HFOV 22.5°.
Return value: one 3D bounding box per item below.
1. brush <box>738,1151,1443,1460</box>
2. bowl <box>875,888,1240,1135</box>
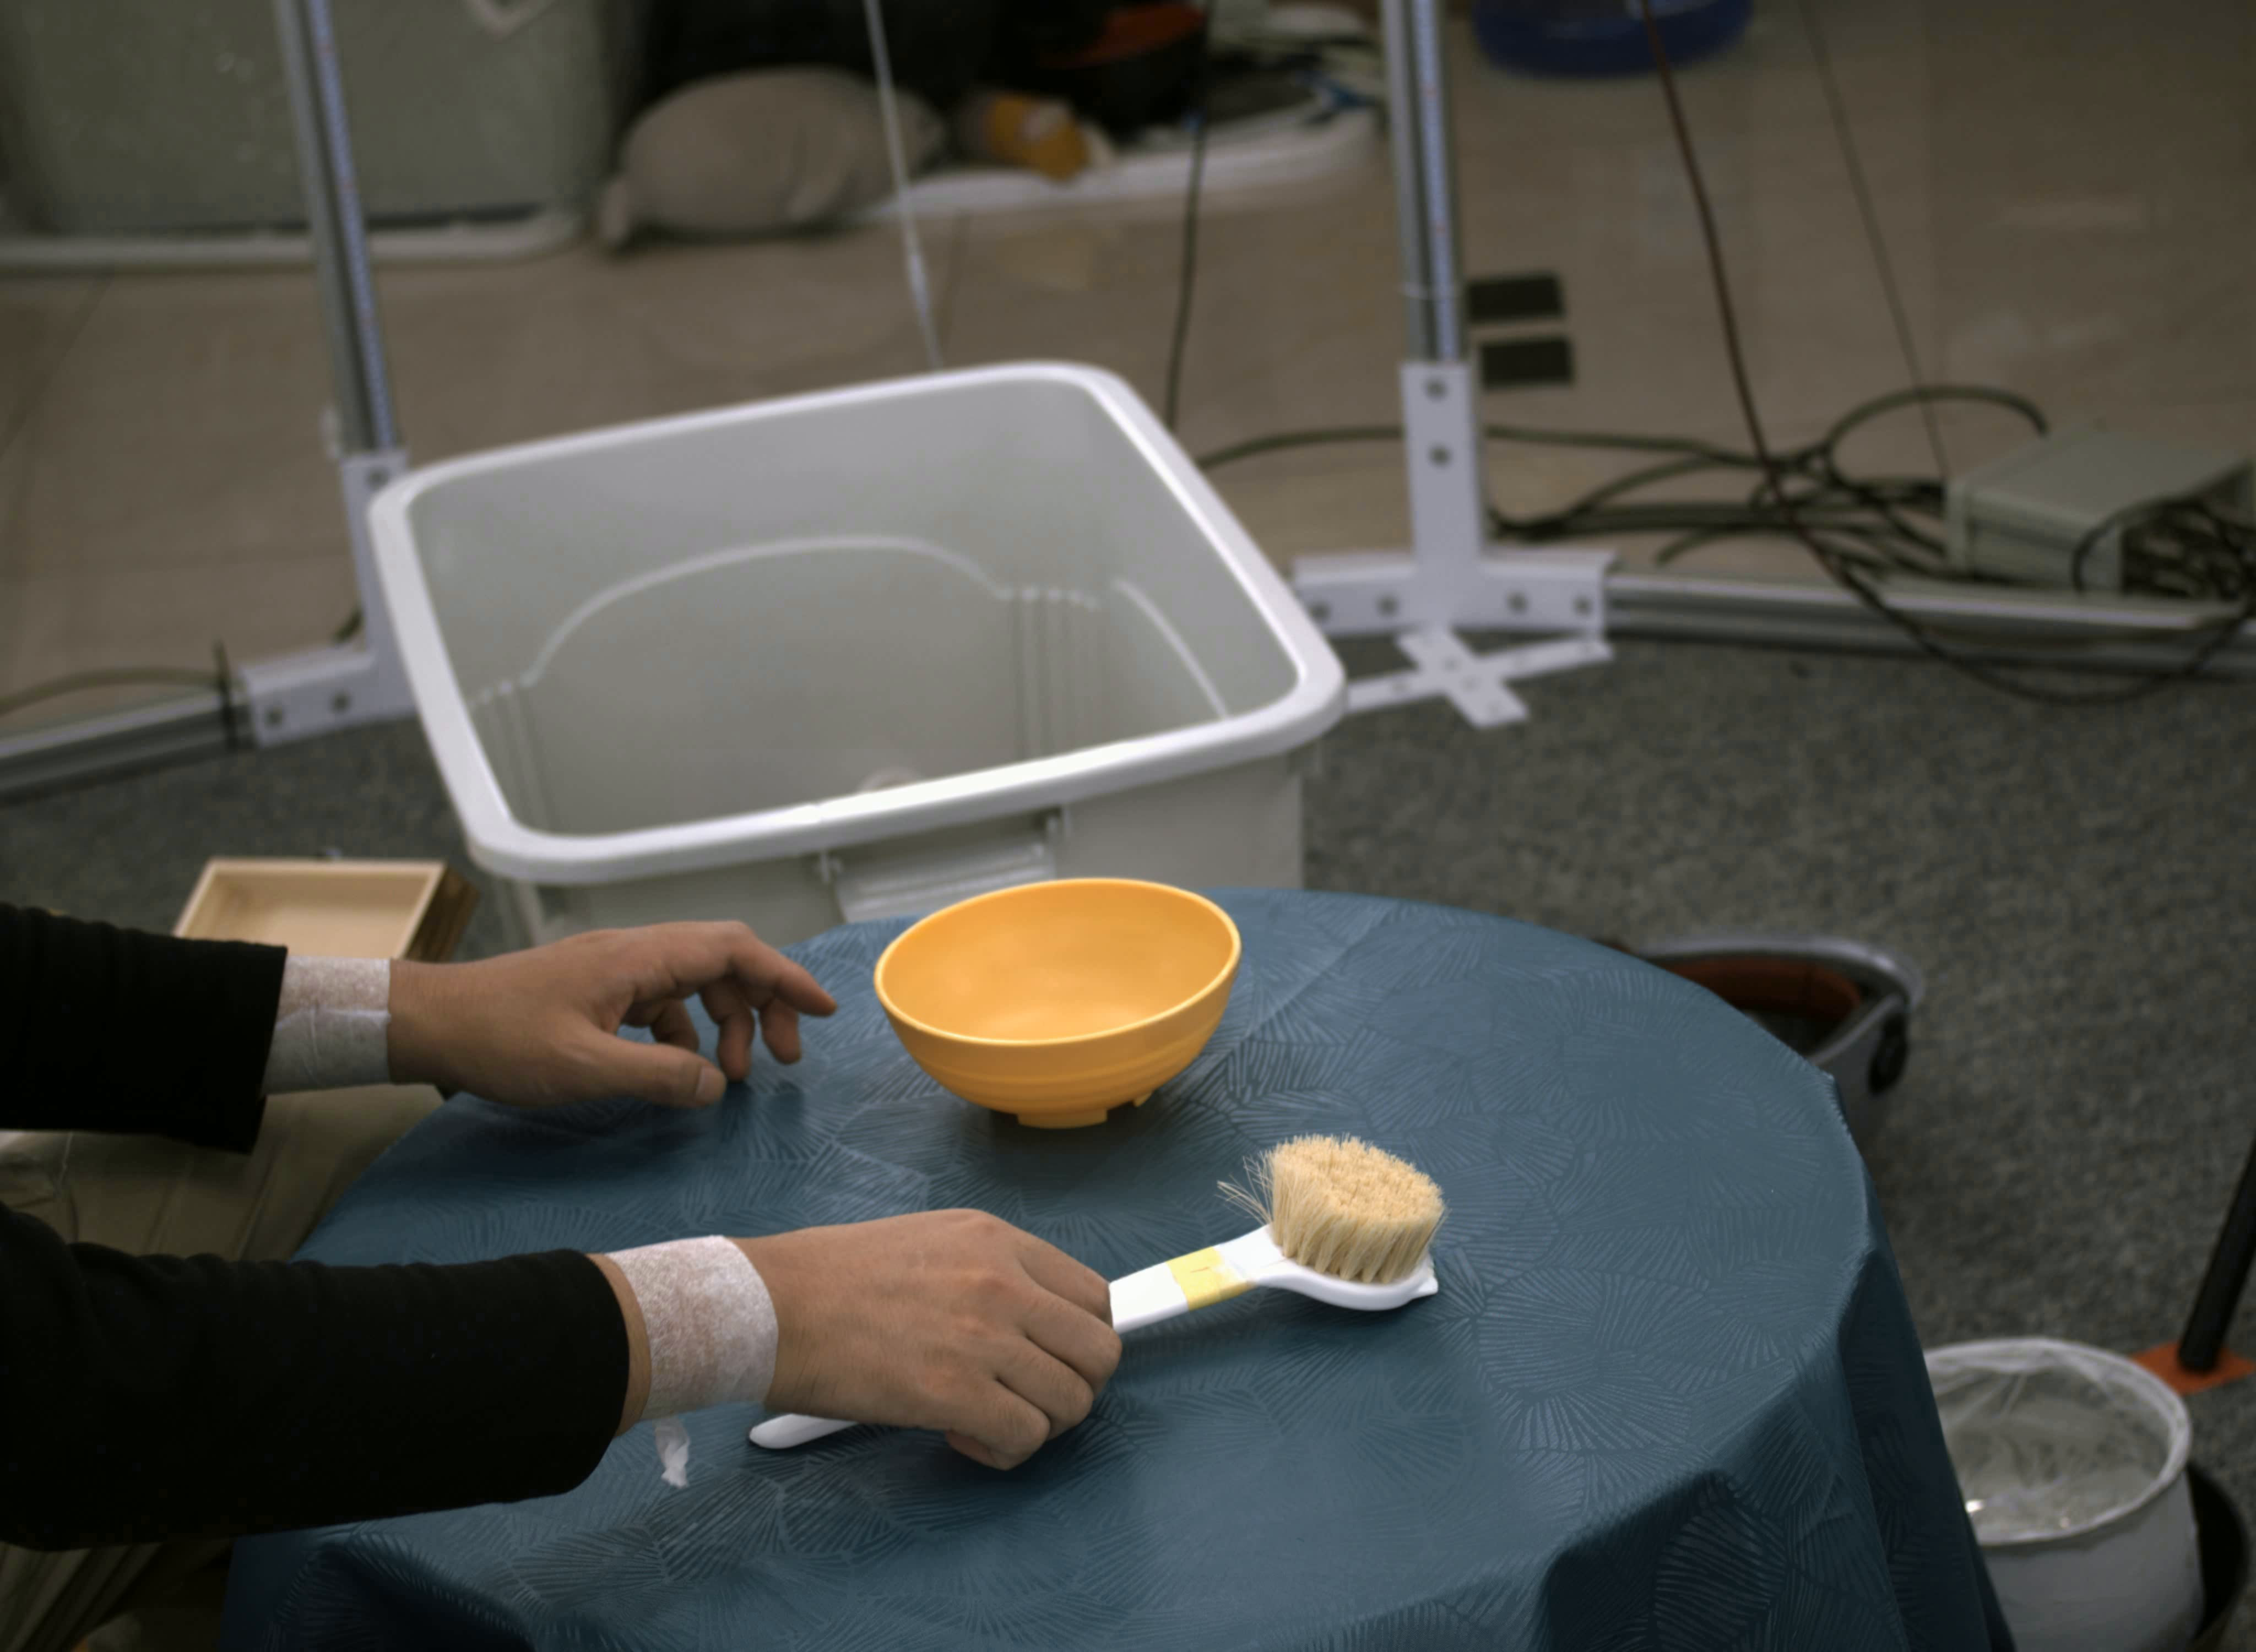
[{"bbox_3d":[-0.013,0.169,2.024,0.266,0.057,0.068,-13,22,-11],"label":"brush"},{"bbox_3d":[-0.024,0.080,2.214,0.145,0.061,0.143,-7,24,3],"label":"bowl"}]
